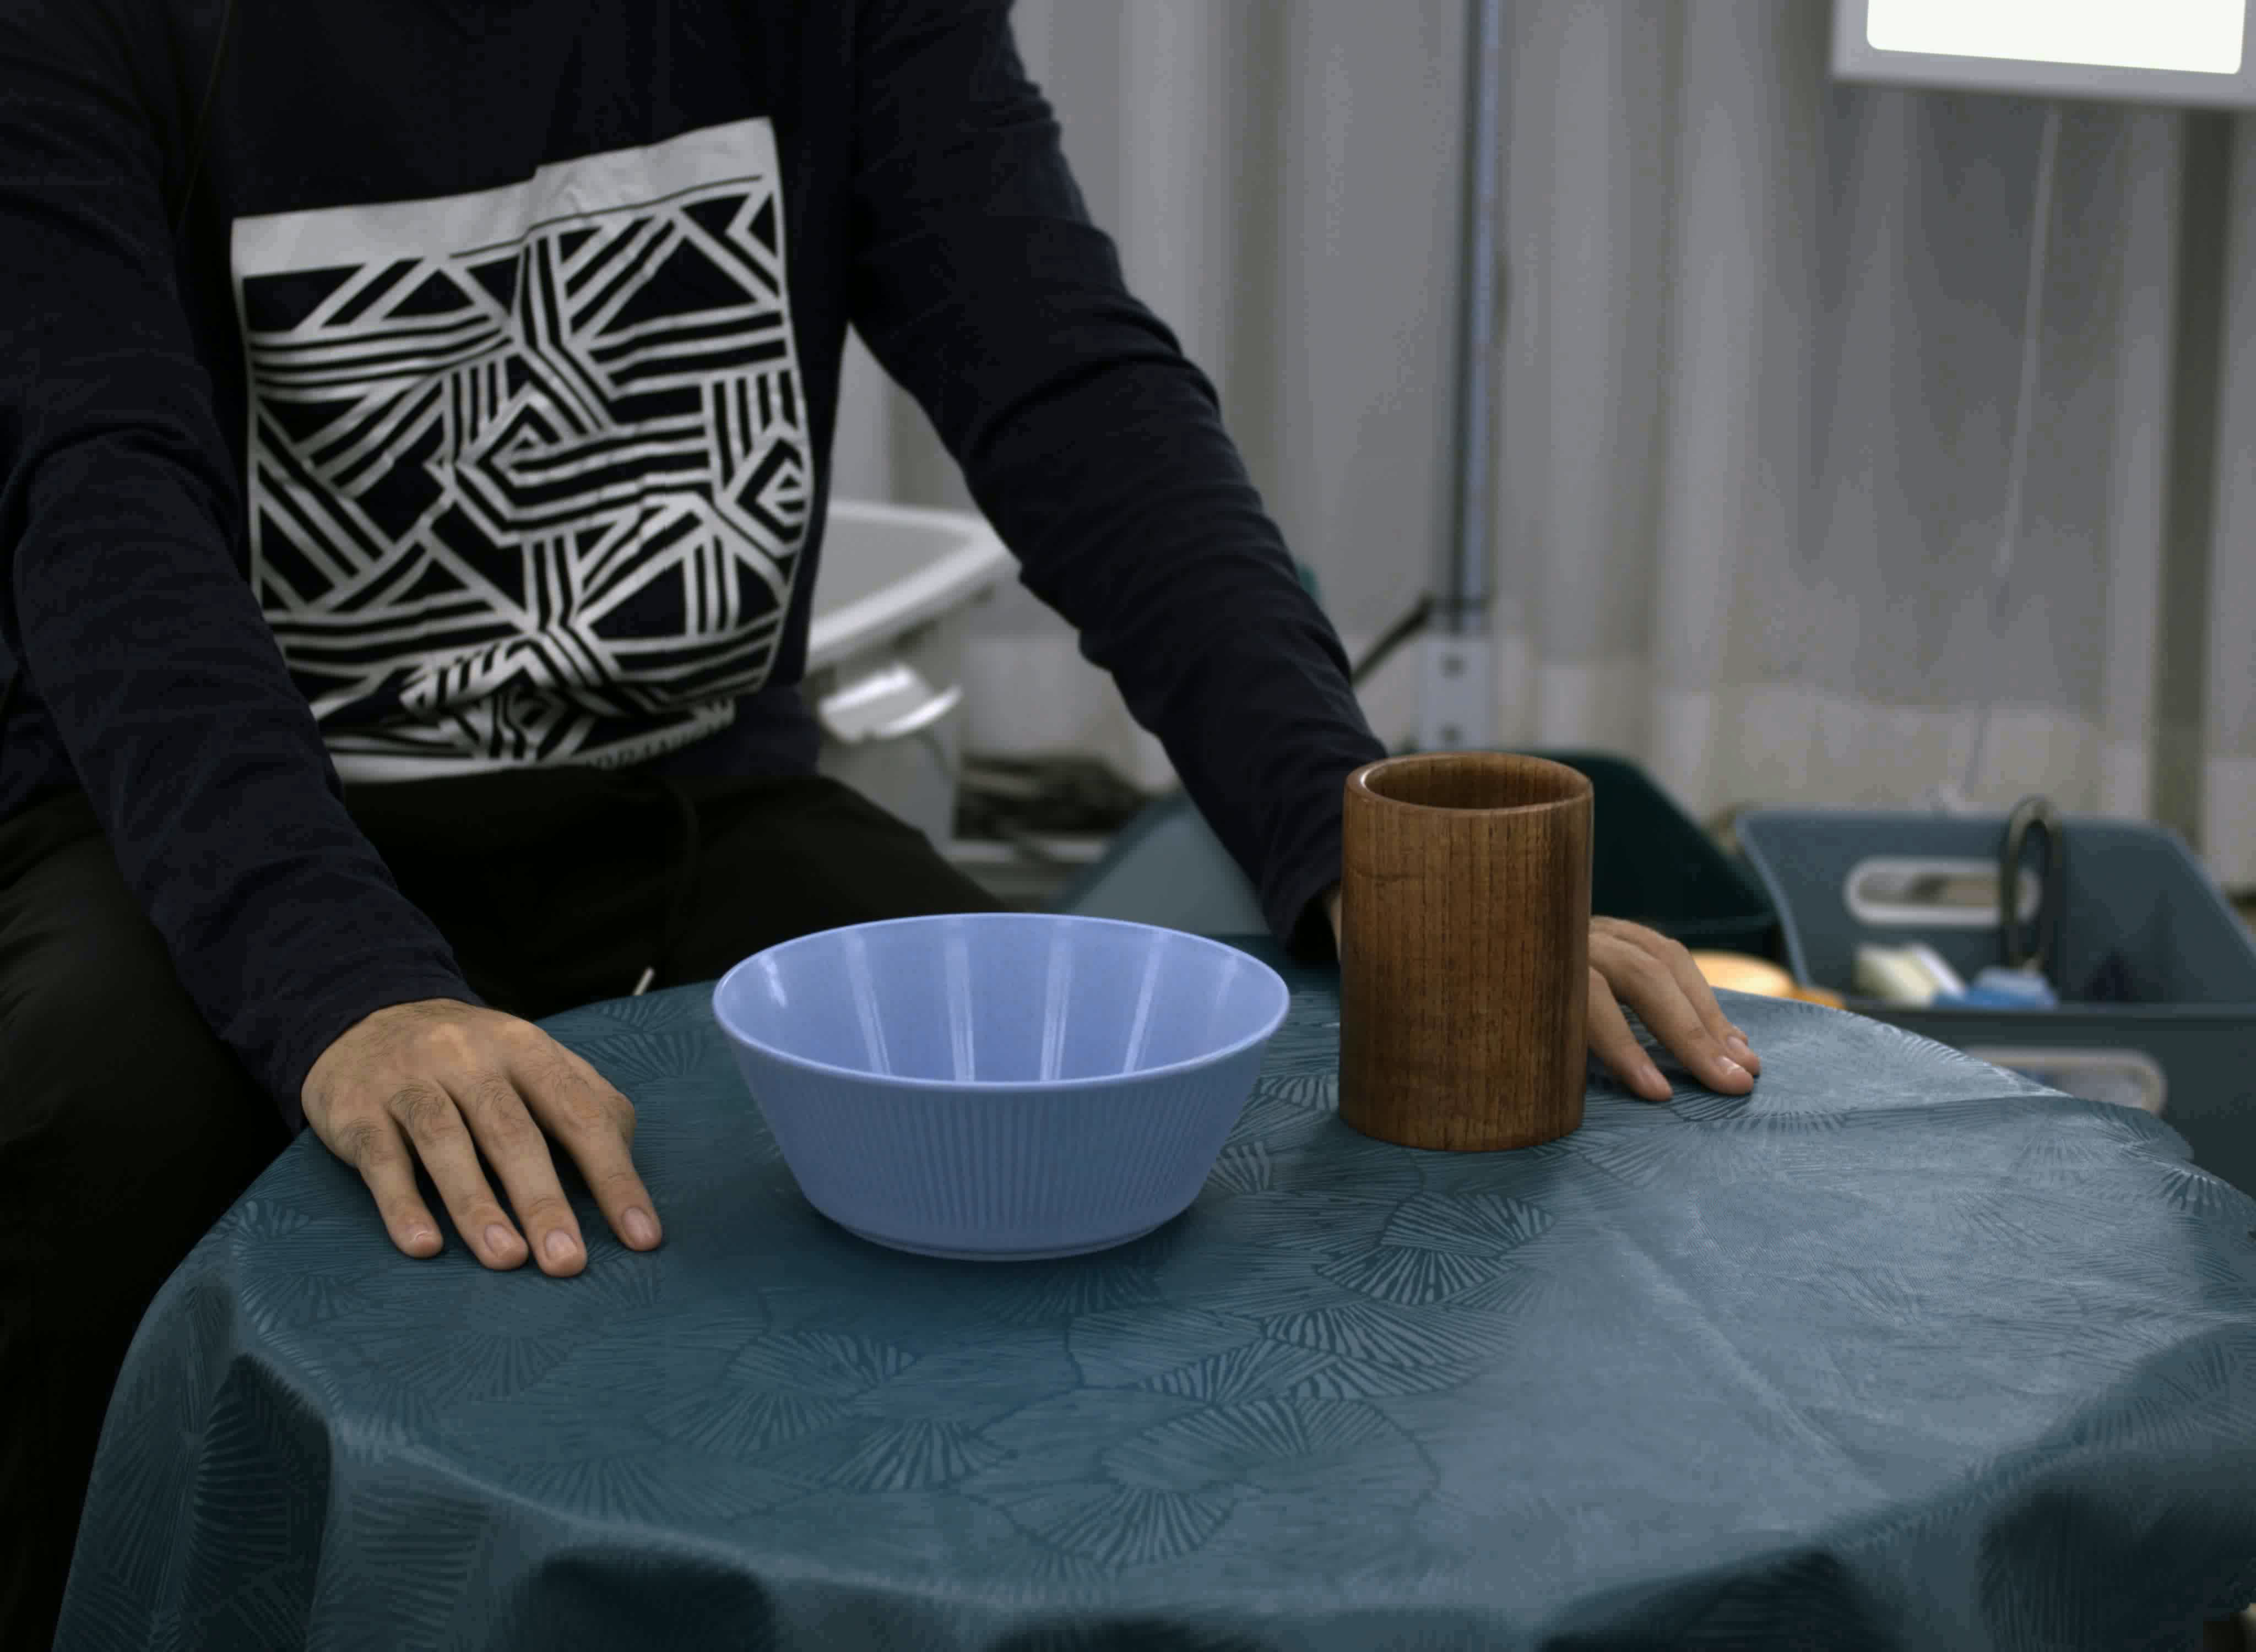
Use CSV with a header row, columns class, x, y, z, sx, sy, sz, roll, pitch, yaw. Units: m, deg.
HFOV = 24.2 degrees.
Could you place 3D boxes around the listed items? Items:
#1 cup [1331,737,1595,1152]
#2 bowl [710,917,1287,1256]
class,x,y,z,sx,sy,sz,roll,pitch,yaw
cup,0.107,0.037,1.683,0.087,0.119,0.087,1,14,0
bowl,-0.039,0.081,1.604,0.175,0.071,0.175,1,15,0
